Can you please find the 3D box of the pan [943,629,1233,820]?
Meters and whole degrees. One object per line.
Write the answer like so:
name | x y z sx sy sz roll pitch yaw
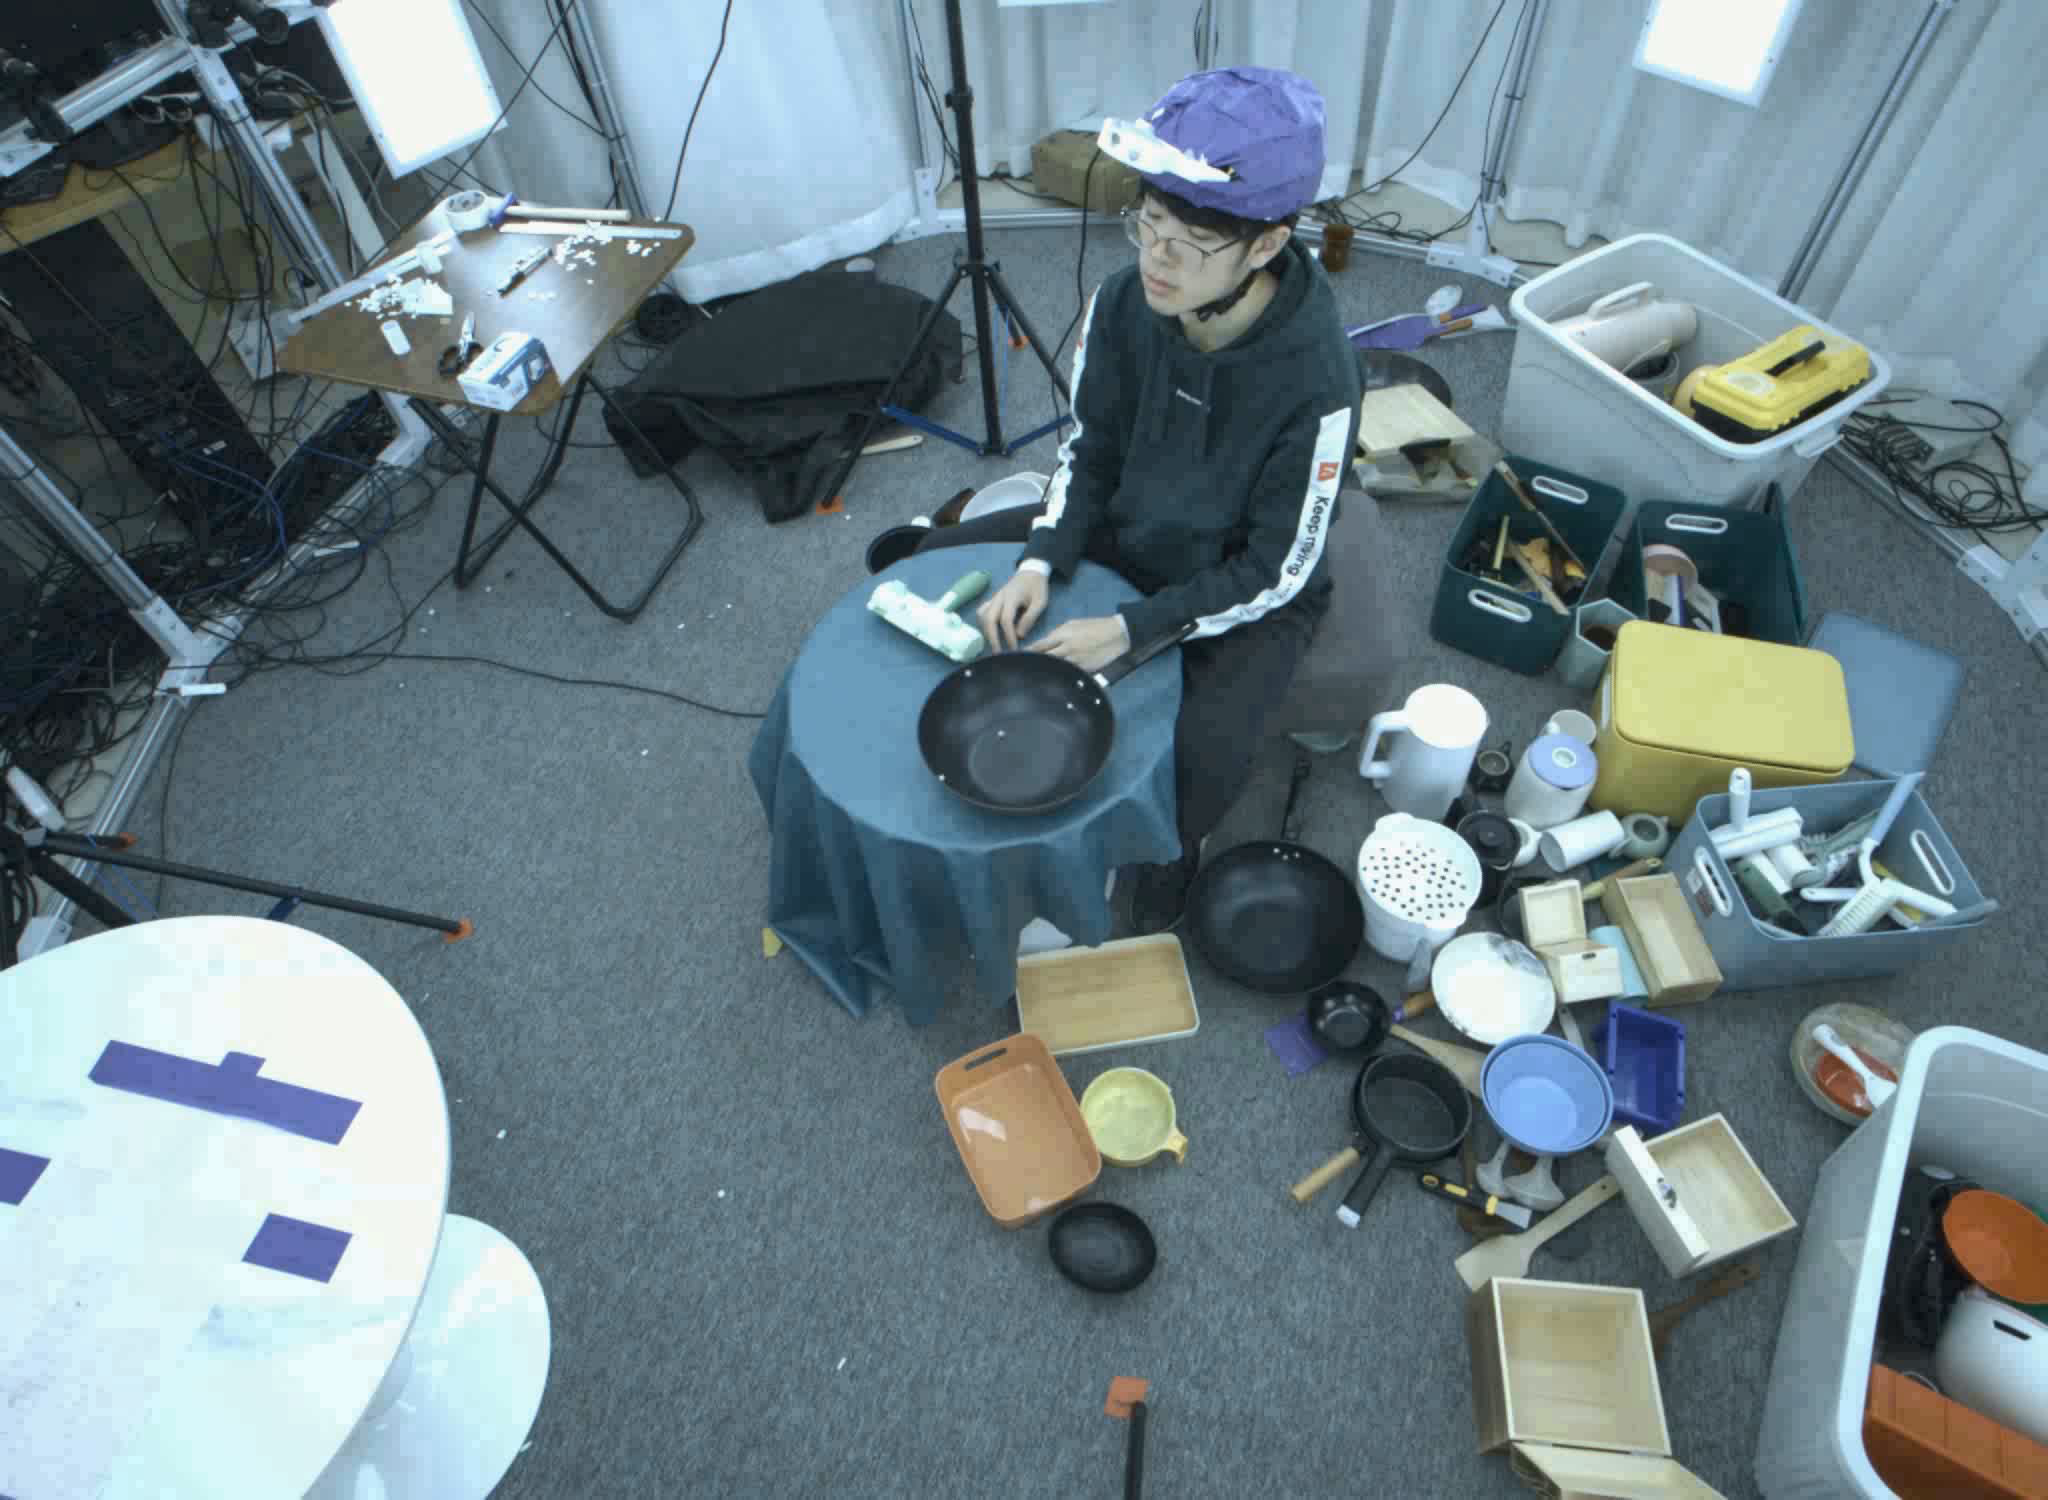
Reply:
pan | 0.105 -0.049 1.763 0.467 0.088 0.283 -30 59 -19

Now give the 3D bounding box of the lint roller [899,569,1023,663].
lint roller | -0.069 -0.239 1.909 0.195 0.083 0.184 34 68 24
